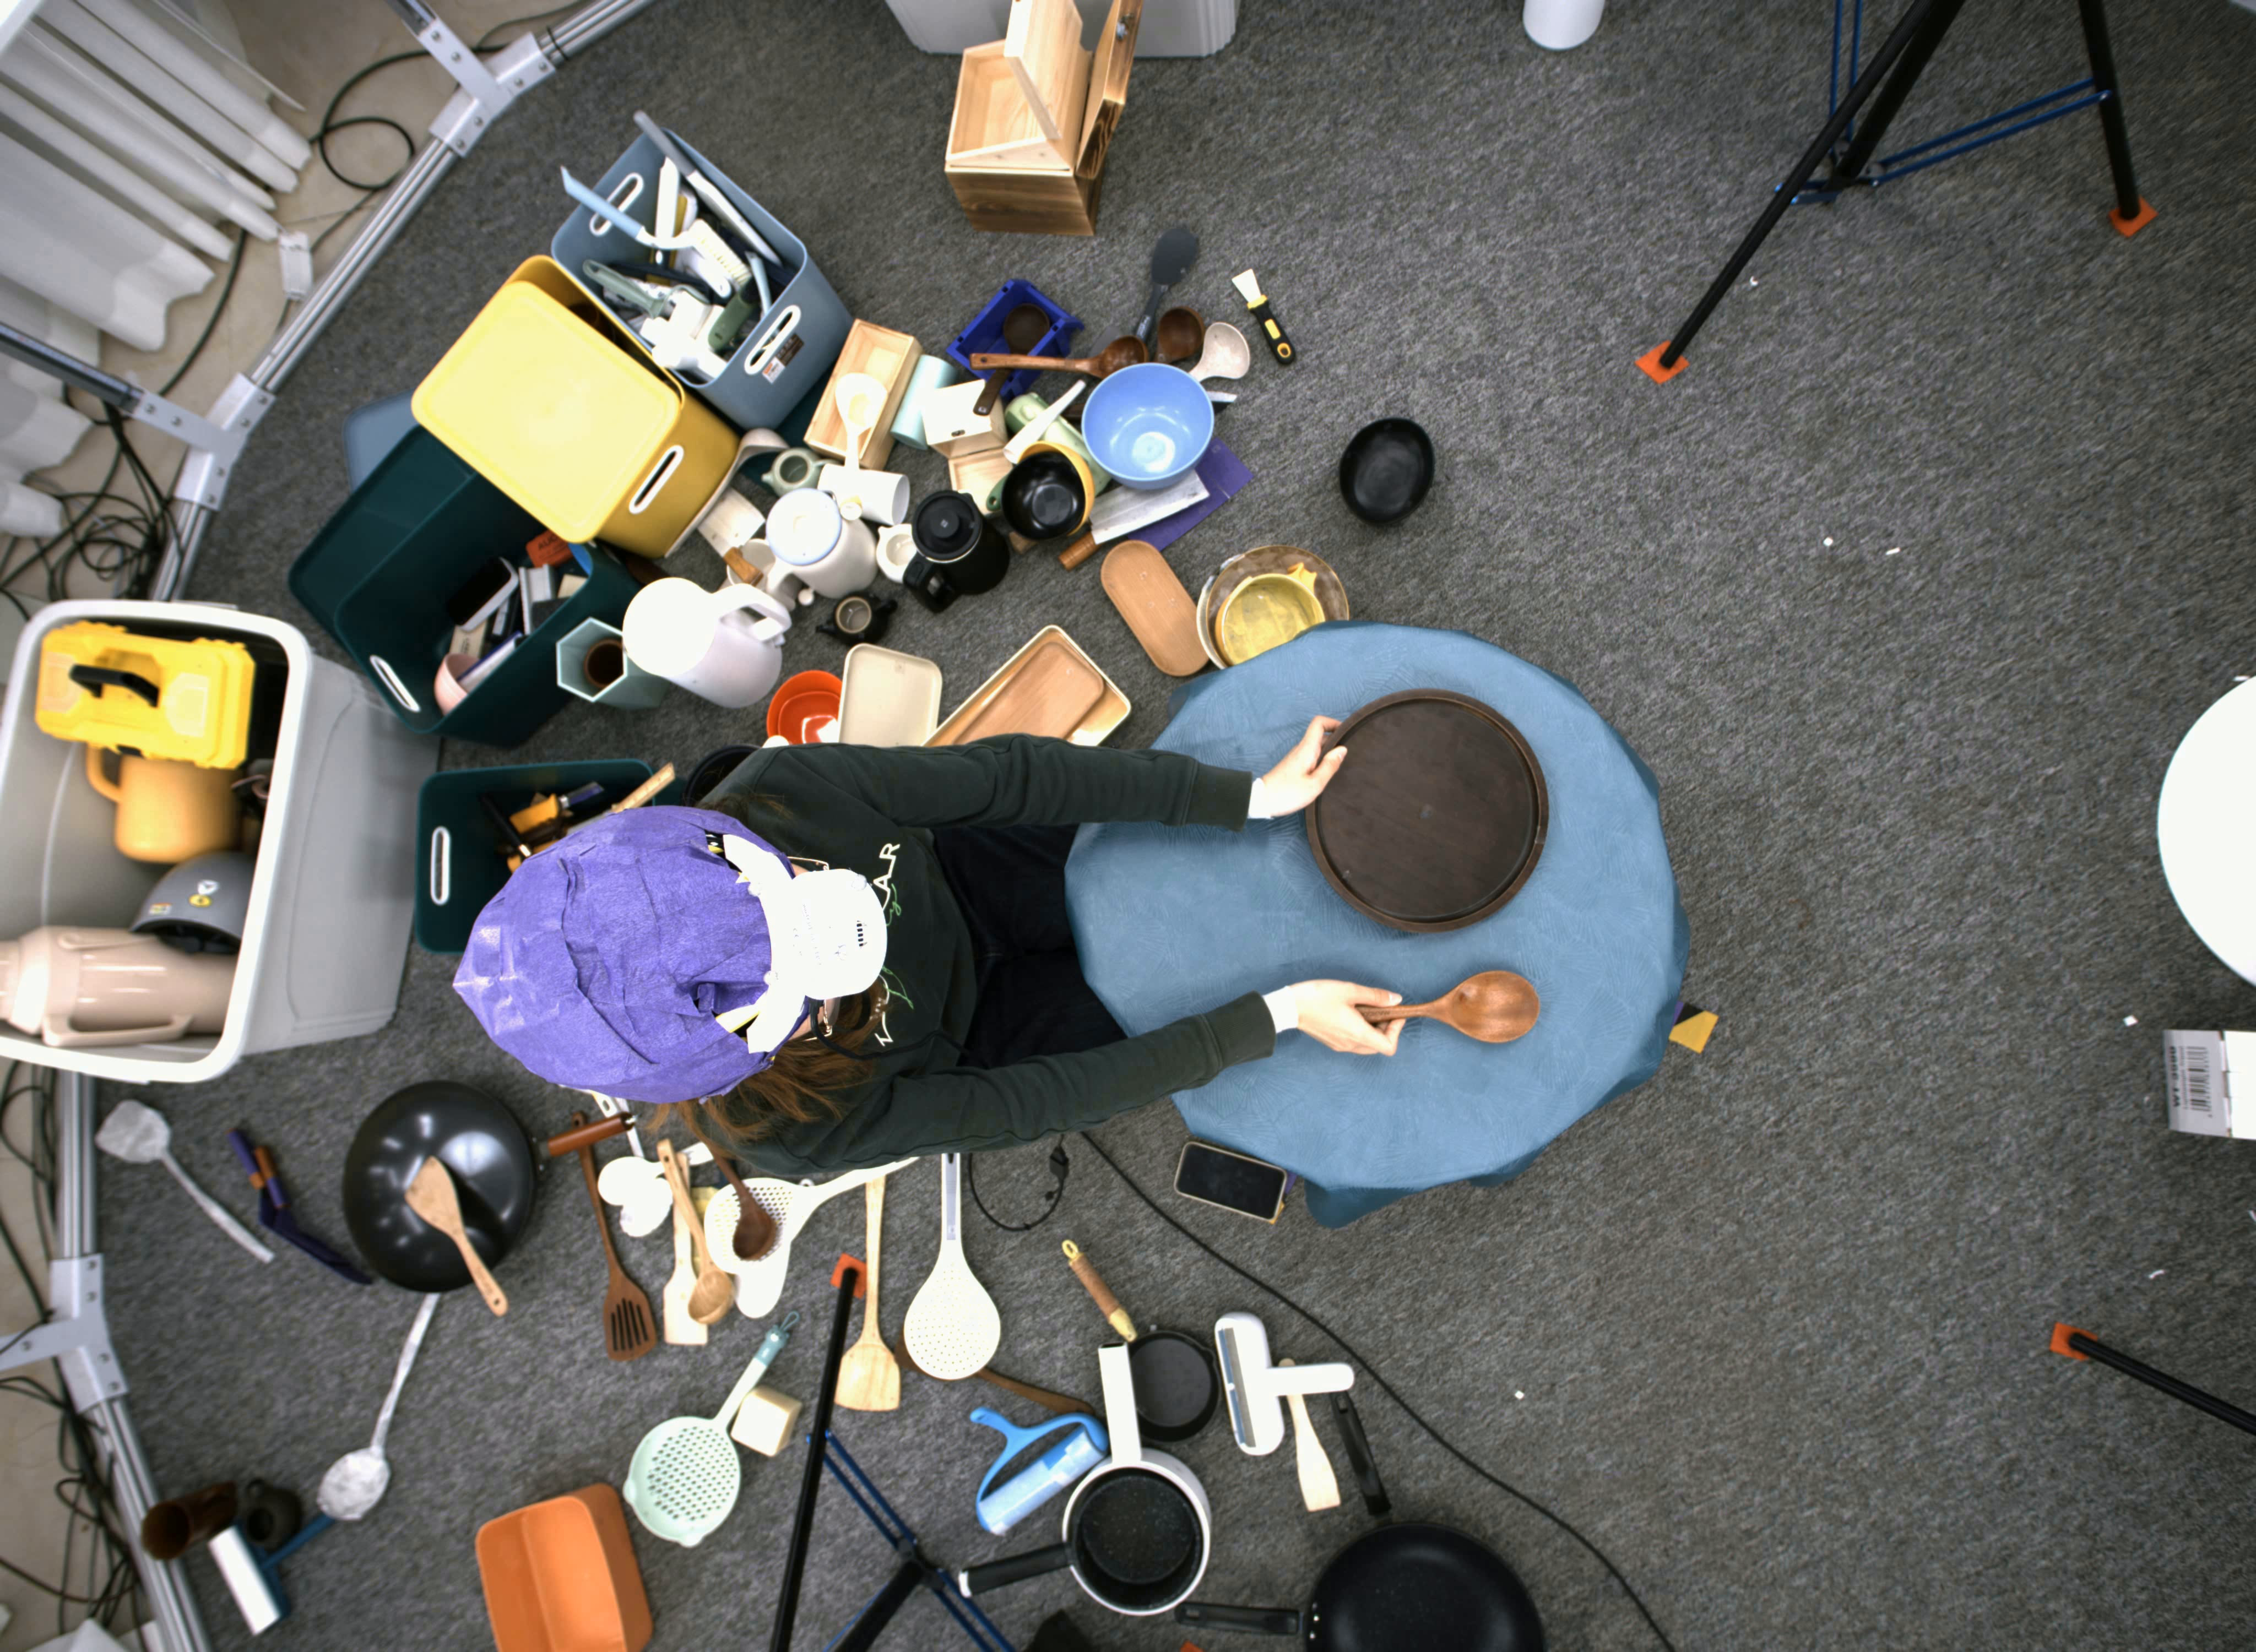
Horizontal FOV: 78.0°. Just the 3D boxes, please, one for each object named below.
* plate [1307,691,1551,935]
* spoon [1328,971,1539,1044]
[{"bbox_3d":[0.311,-0.015,1.428,0.255,0.029,0.254,0,90,0],"label":"plate"},{"bbox_3d":[0.313,0.189,1.417,0.216,0.017,0.075,-4,93,3],"label":"spoon"}]
